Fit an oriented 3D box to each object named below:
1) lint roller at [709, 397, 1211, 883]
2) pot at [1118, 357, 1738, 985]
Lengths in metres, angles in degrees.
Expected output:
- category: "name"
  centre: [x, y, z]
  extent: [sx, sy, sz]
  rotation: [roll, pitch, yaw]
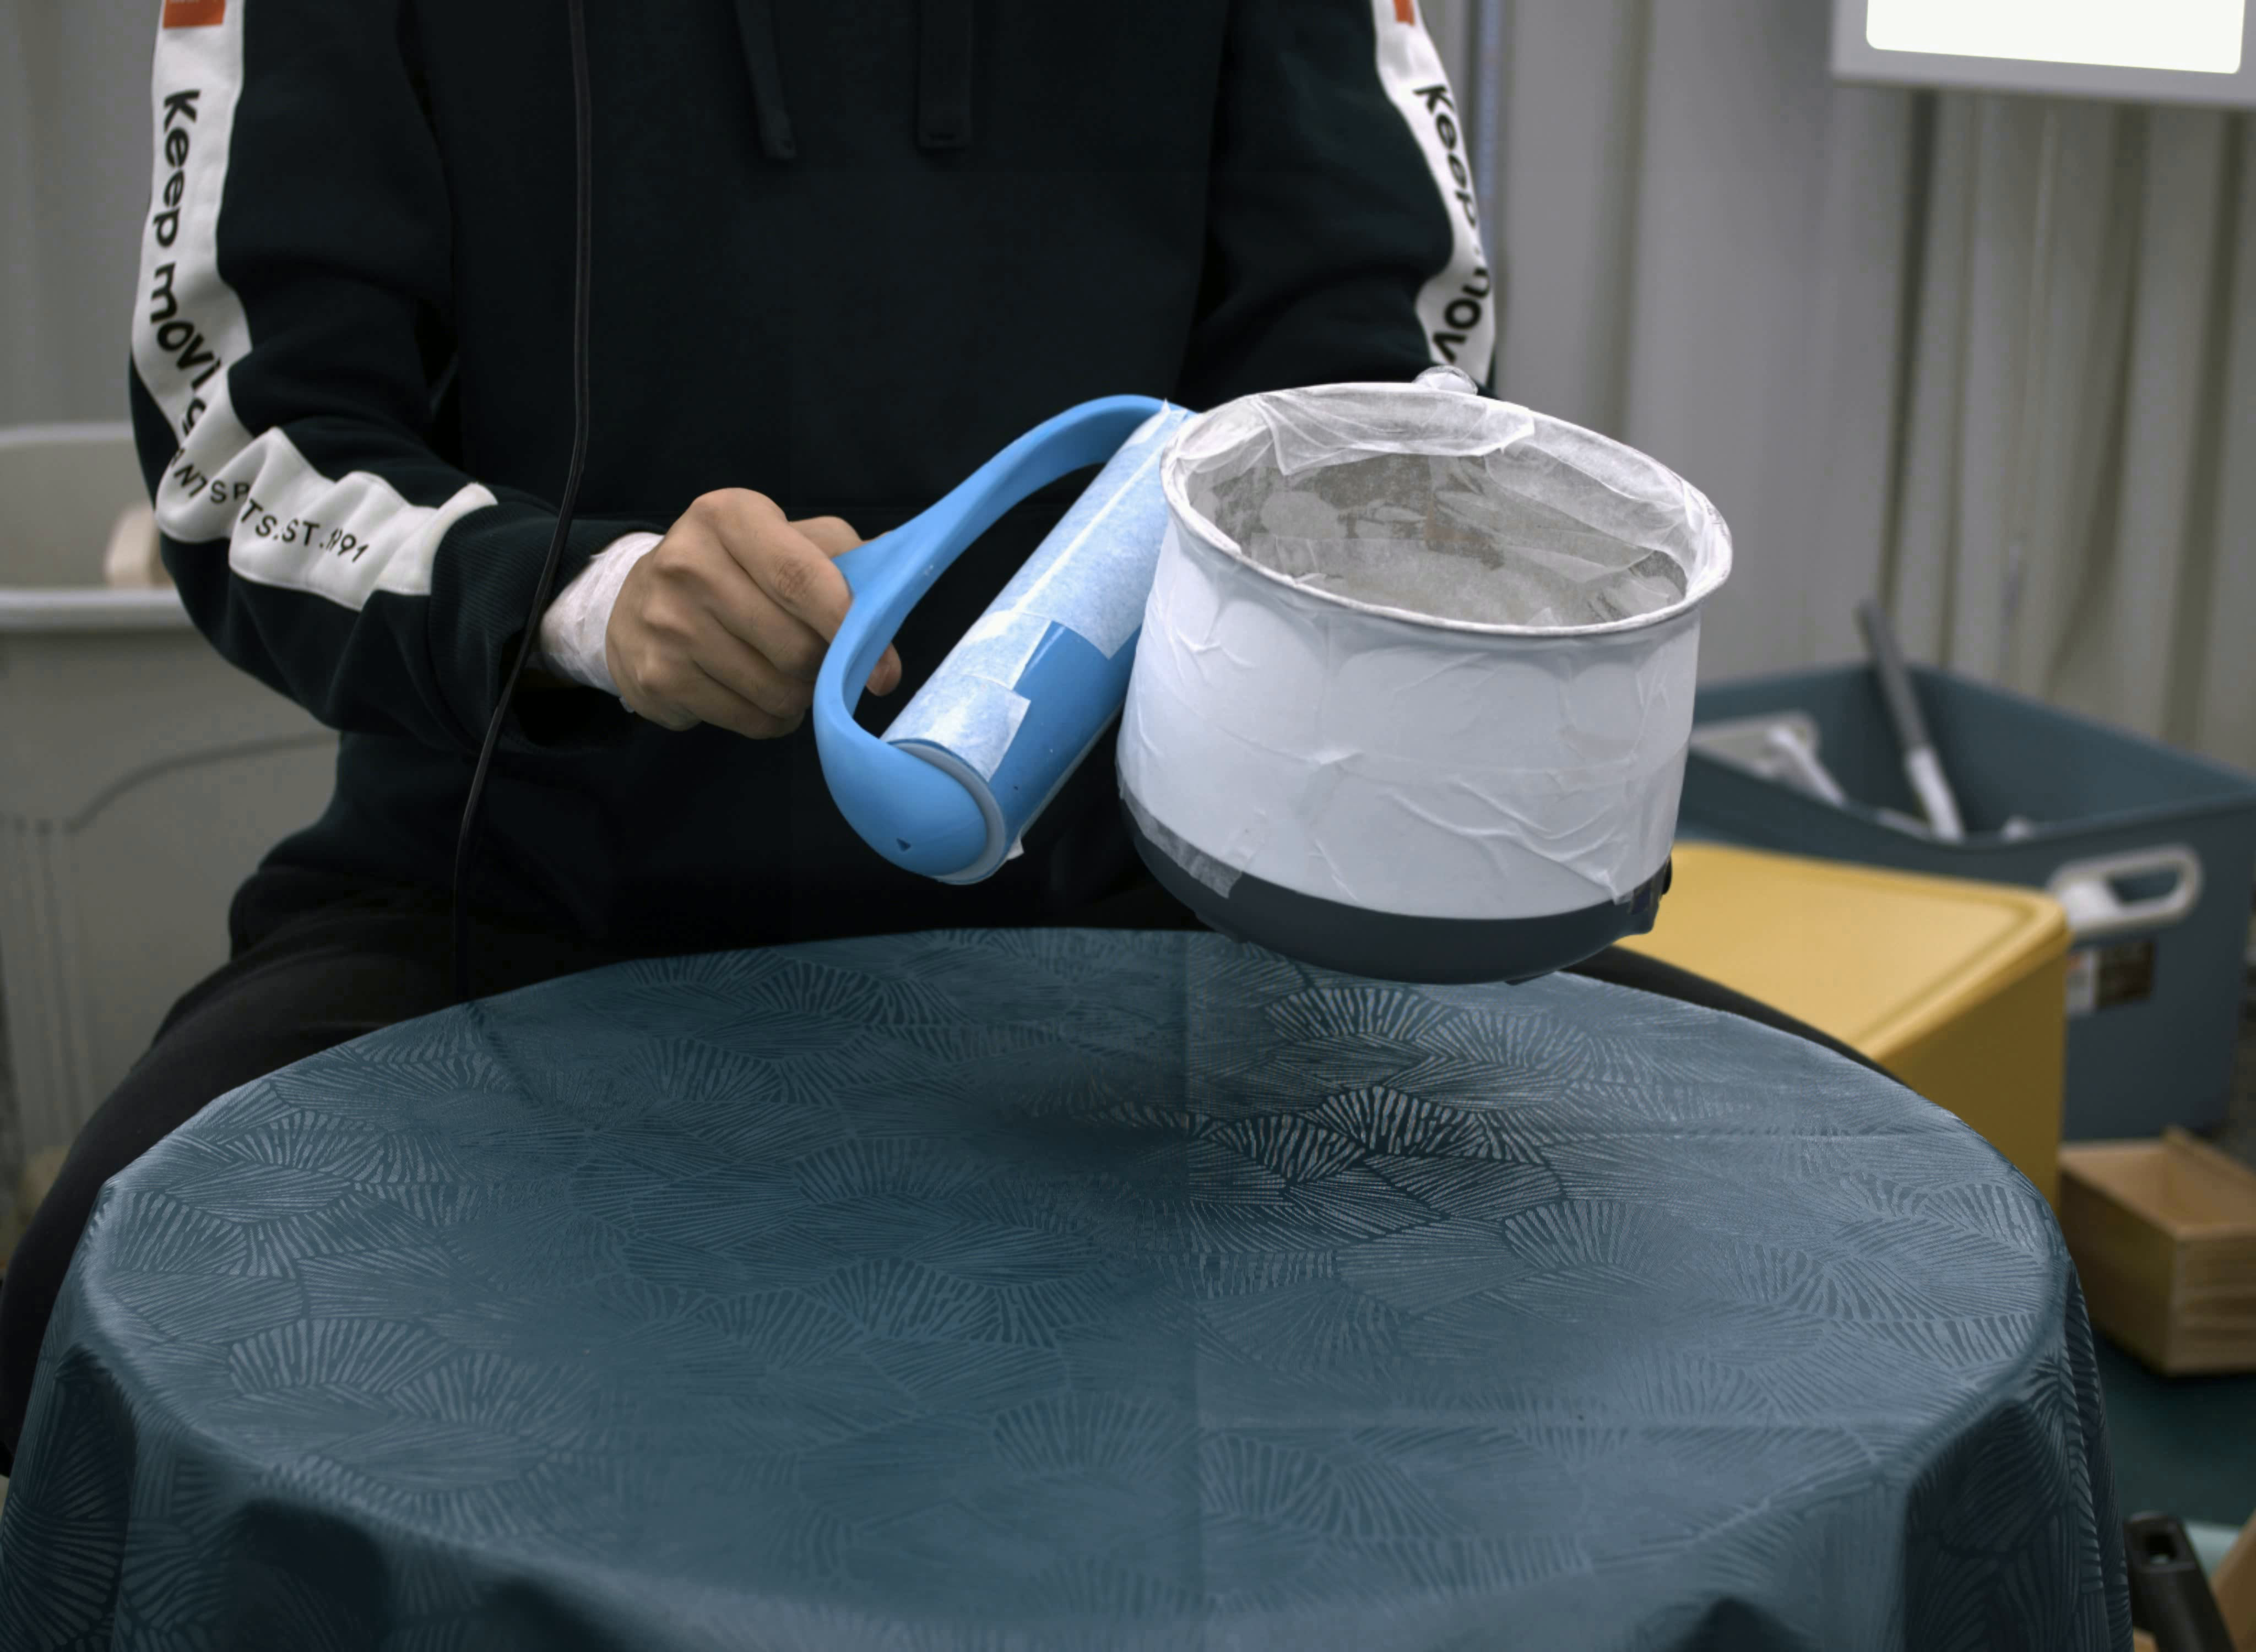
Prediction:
- category: "lint roller"
  centre: [-0.066, -0.059, 1.686]
  extent: [0.178, 0.069, 0.228]
  rotation: [-1, 36, 27]
- category: "pot"
  centre: [0.090, -0.056, 1.644]
  extent: [0.178, 0.138, 0.232]
  rotation: [8, 28, -2]
